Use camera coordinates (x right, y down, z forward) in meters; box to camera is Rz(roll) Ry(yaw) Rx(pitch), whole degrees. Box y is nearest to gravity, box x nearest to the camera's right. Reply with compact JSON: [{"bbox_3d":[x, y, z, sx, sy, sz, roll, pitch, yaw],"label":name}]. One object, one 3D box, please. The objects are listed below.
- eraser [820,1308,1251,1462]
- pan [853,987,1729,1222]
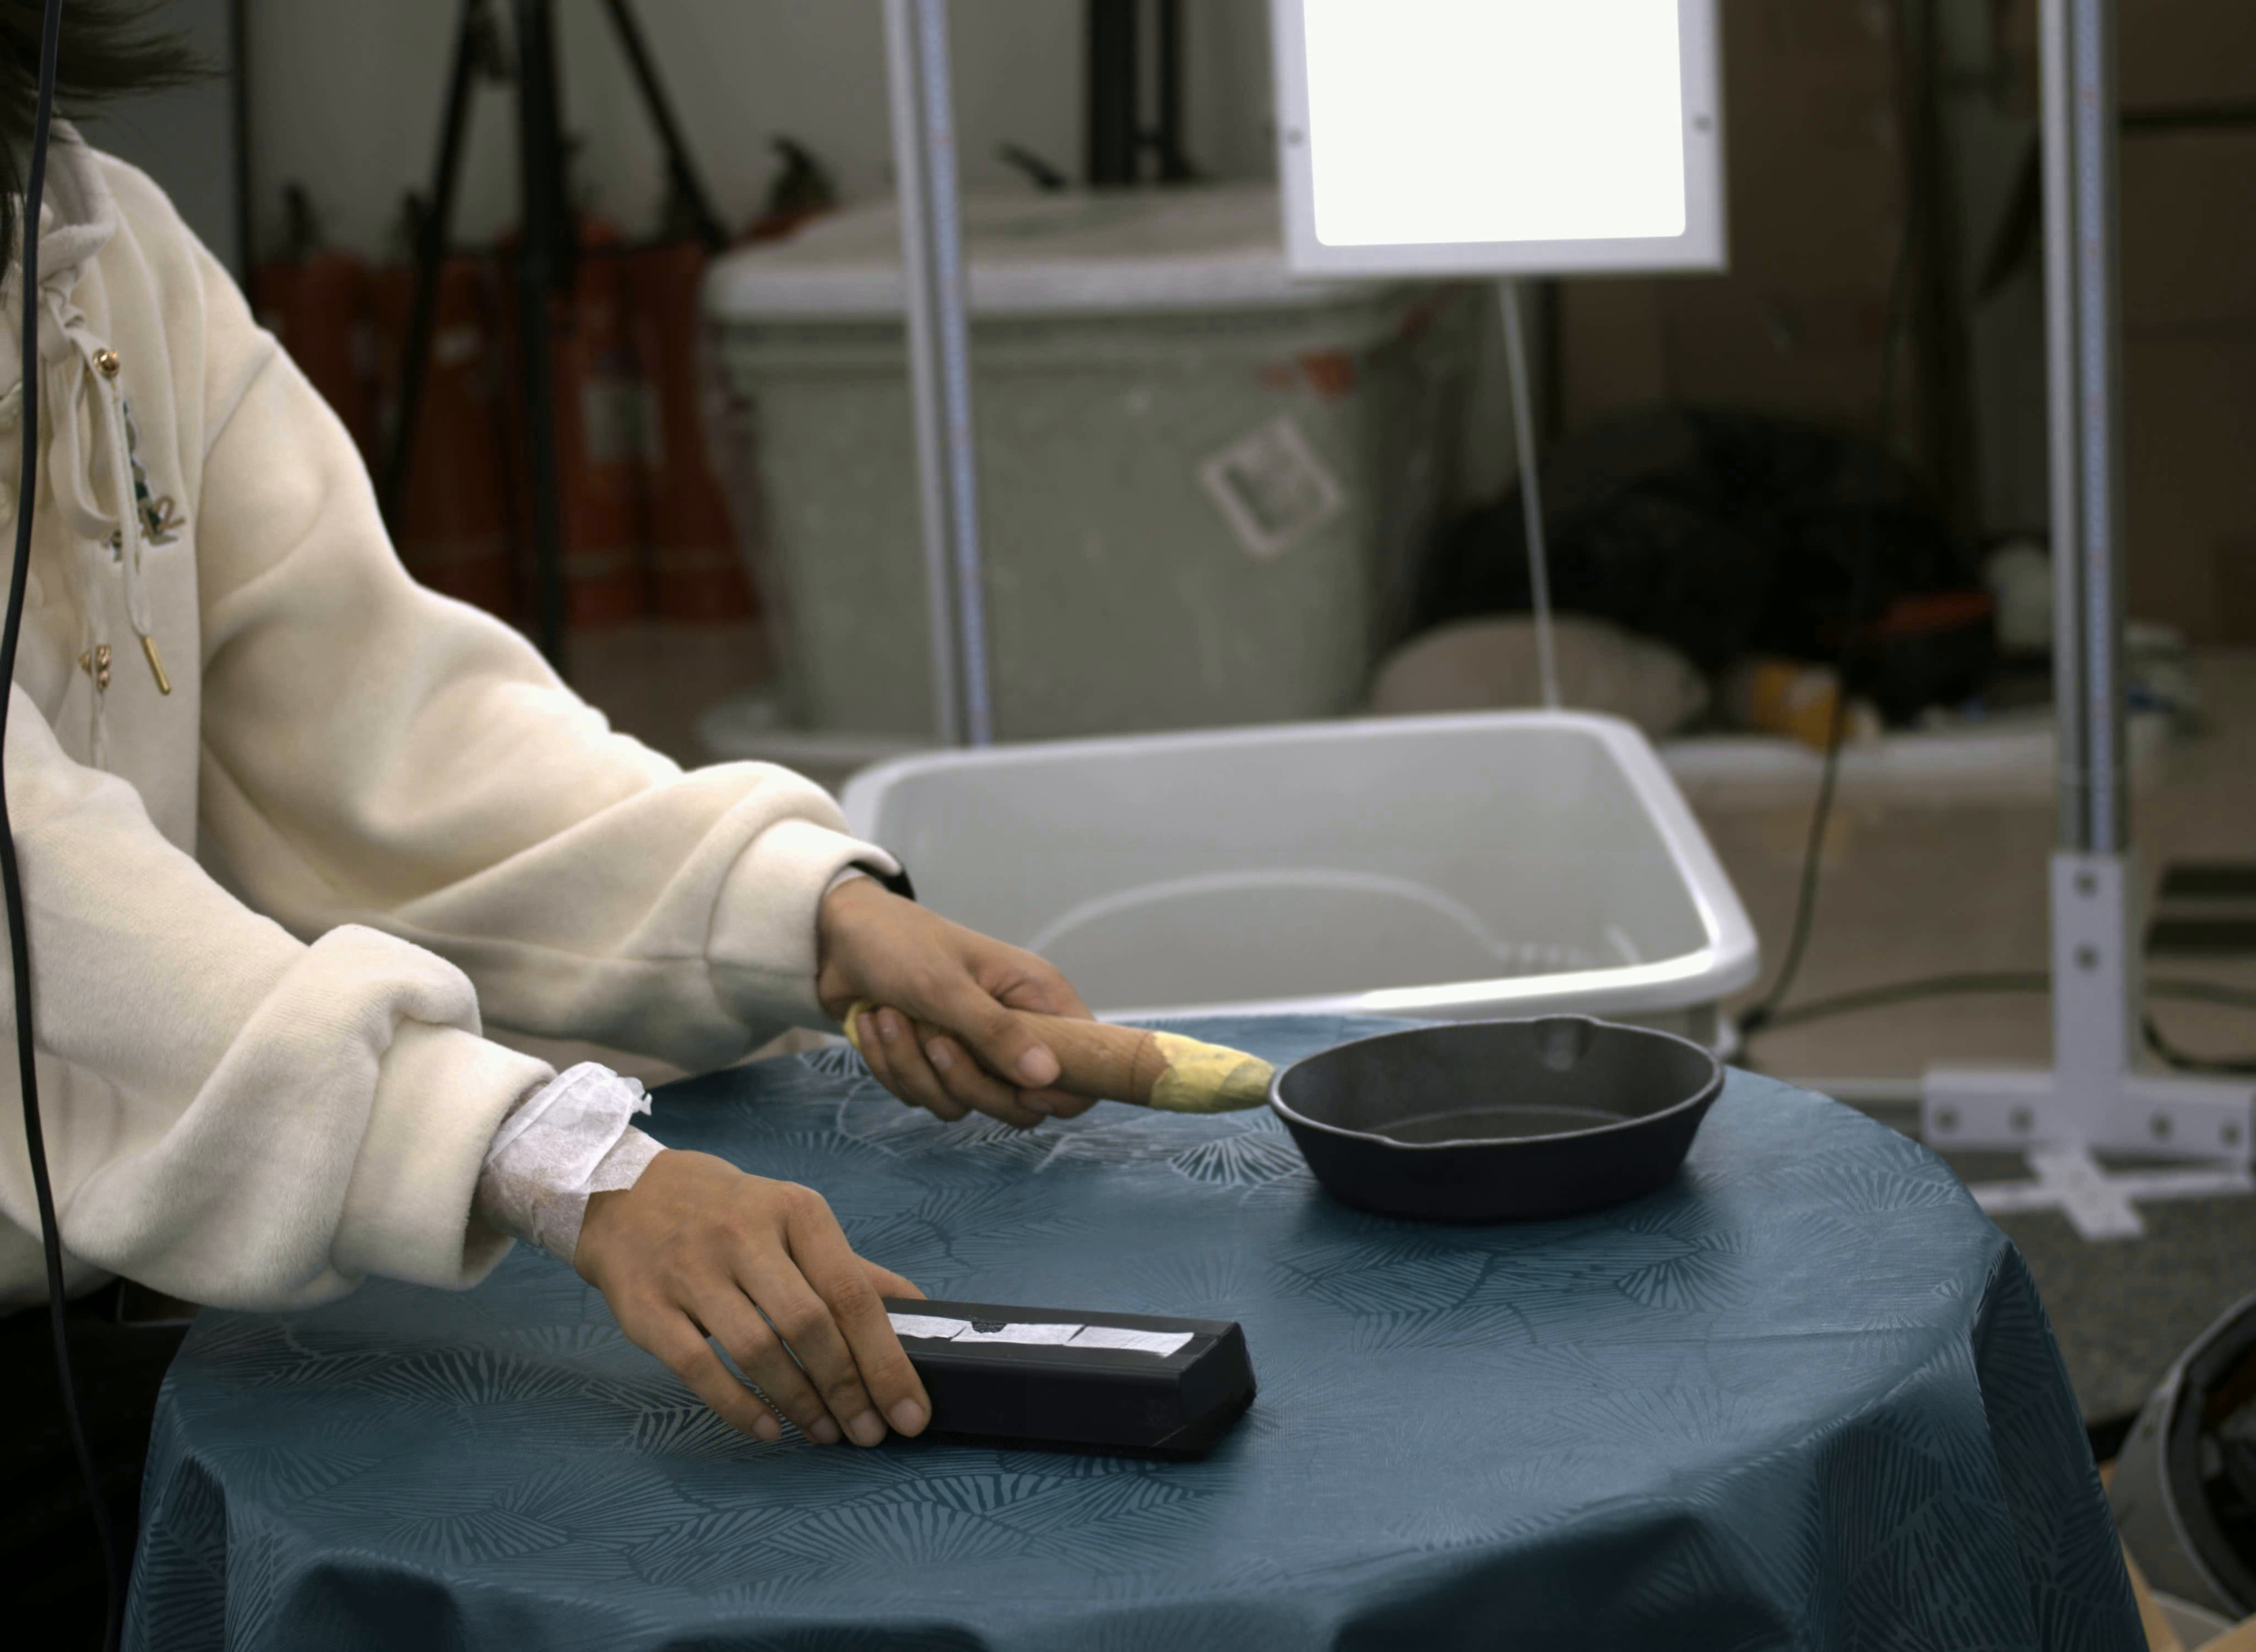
[{"bbox_3d":[-0.027,0.169,1.678,0.127,0.030,0.052,1,15,27],"label":"eraser"},{"bbox_3d":[0.052,0.090,1.917,0.329,0.050,0.165,3,16,27],"label":"pan"}]
